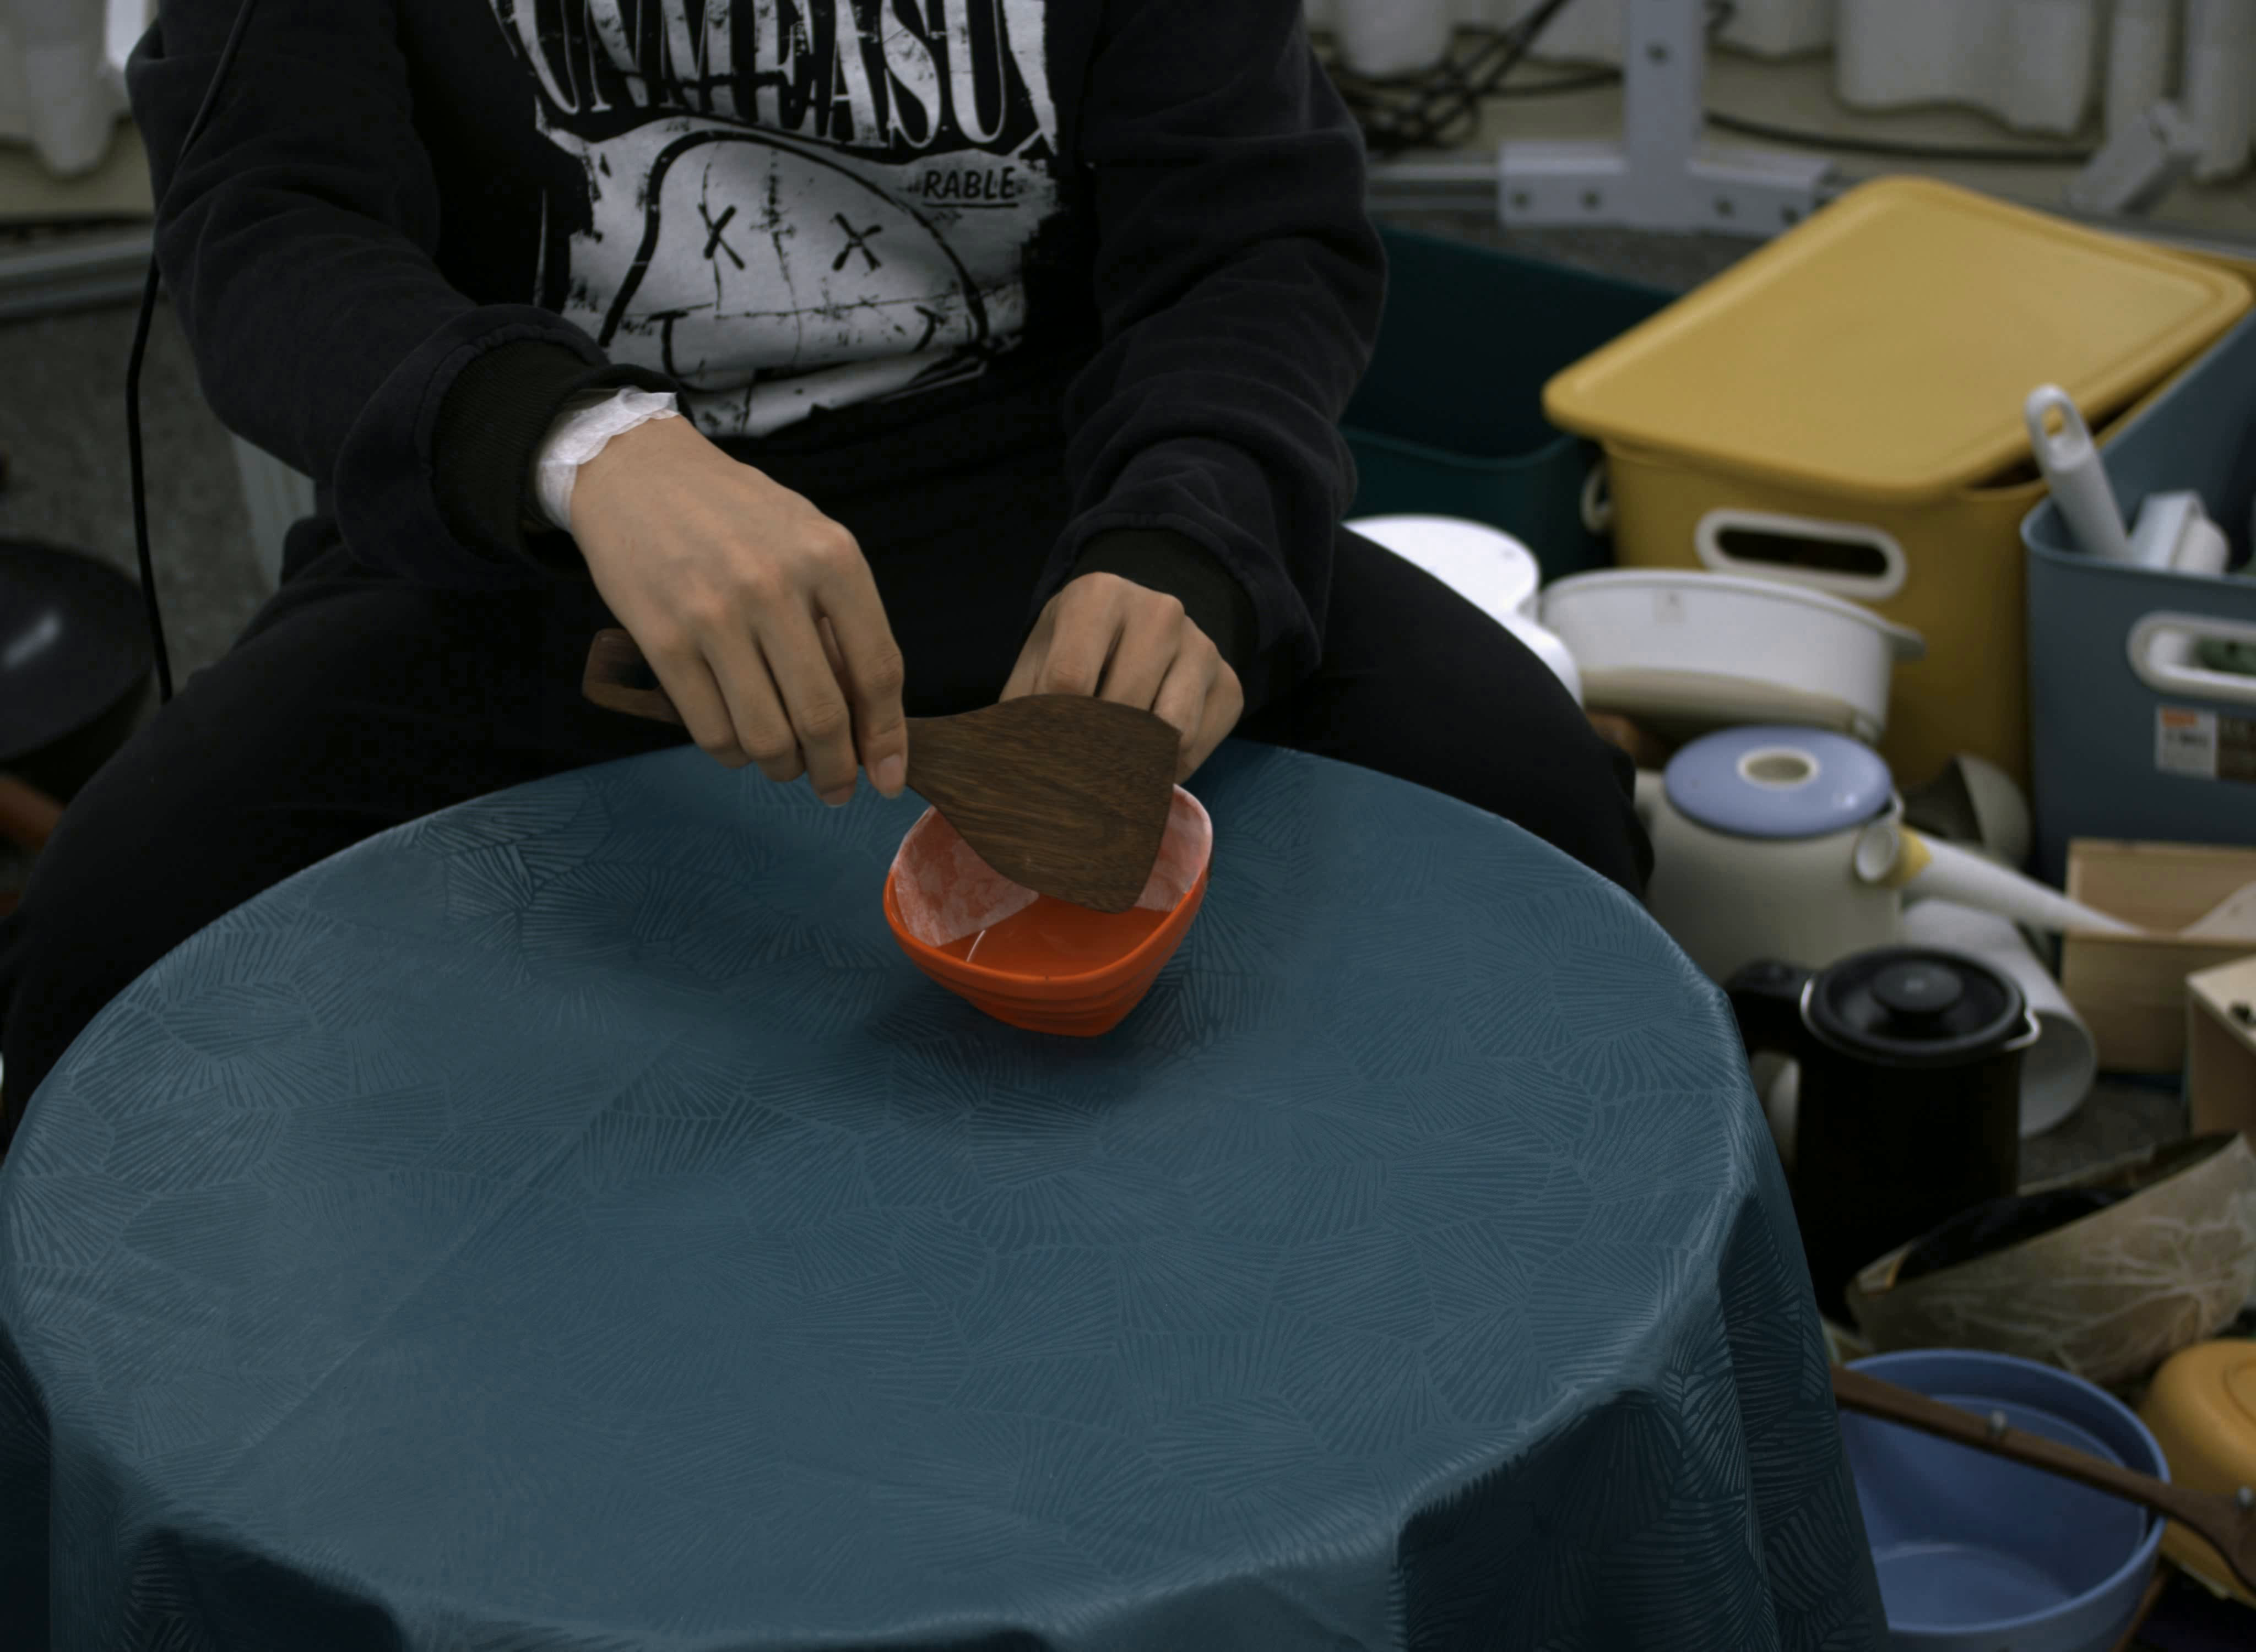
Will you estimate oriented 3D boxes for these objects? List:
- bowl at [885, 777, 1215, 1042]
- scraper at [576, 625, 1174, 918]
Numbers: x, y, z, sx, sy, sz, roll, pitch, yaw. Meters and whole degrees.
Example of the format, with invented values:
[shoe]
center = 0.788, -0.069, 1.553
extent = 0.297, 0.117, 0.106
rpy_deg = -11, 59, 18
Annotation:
[bowl]
center = -0.024, 0.032, 1.967
extent = 0.118, 0.050, 0.121
rpy_deg = -6, 43, 6
[scraper]
center = -0.088, -0.029, 1.944
extent = 0.210, 0.076, 0.011
rpy_deg = 16, -6, -11
